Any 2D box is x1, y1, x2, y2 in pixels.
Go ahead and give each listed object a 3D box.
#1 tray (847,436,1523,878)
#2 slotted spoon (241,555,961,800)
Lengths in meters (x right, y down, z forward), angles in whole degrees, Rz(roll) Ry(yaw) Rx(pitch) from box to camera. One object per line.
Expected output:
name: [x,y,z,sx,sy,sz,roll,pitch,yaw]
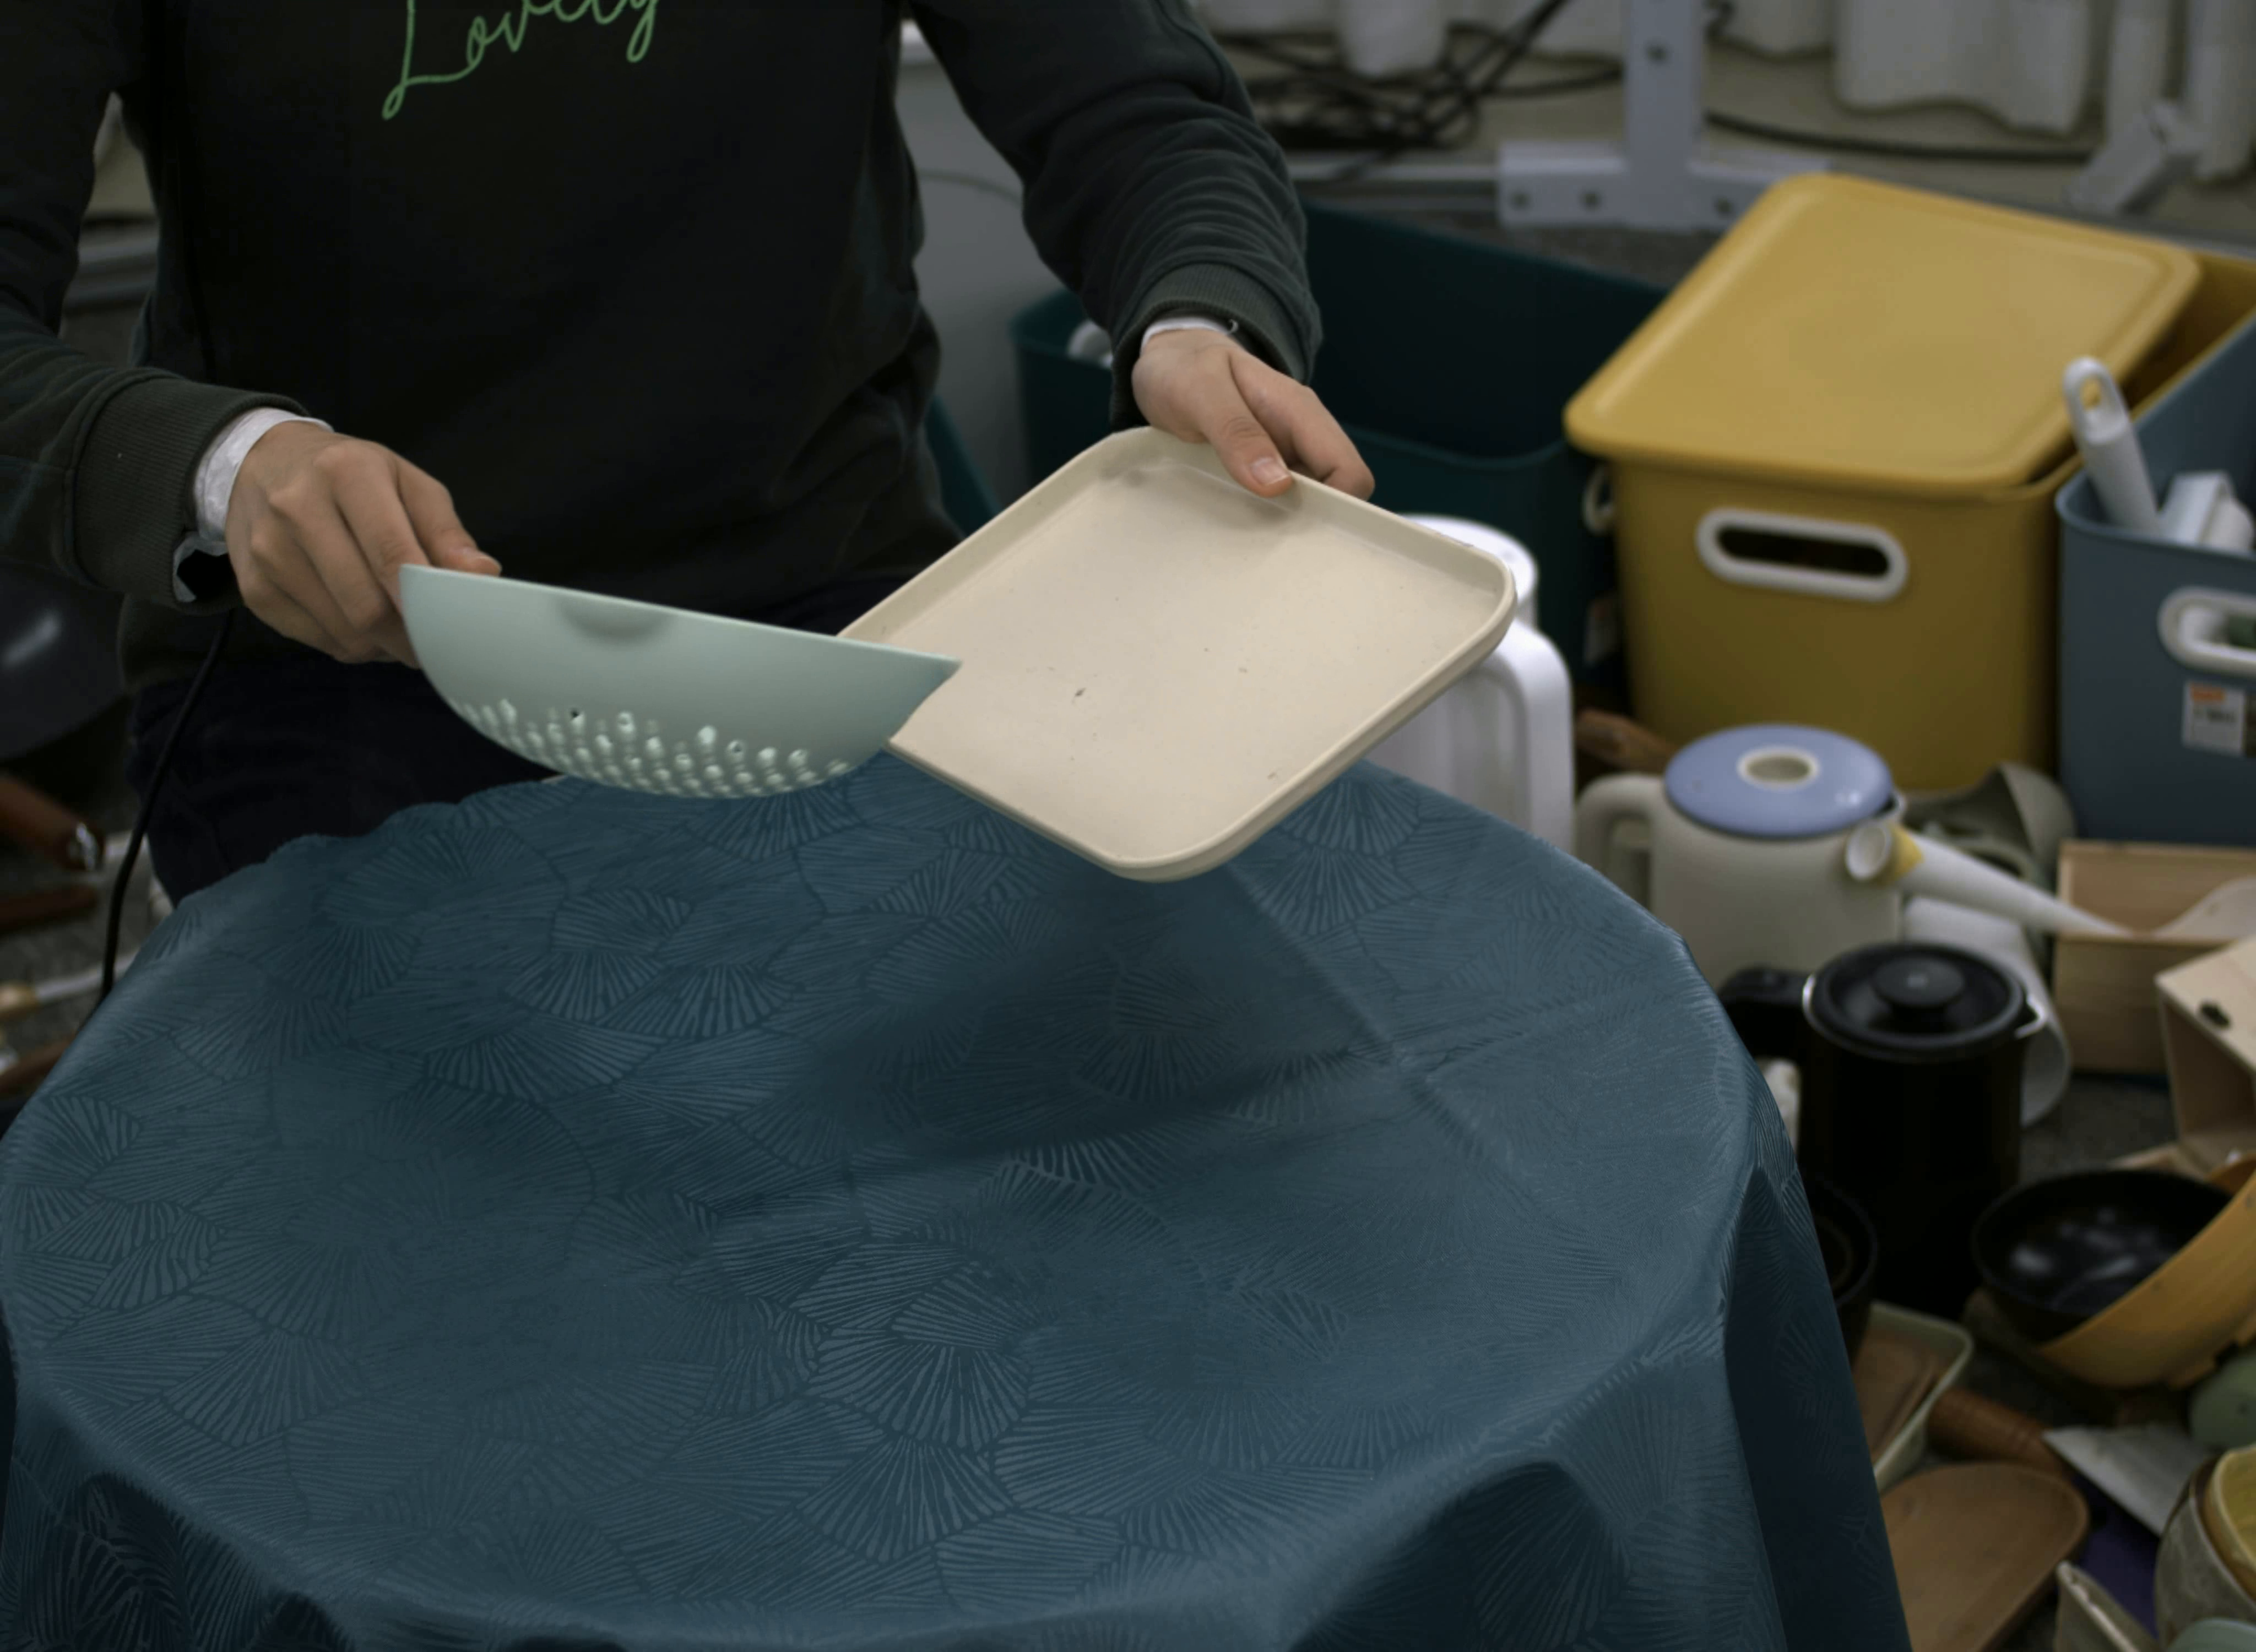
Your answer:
tray: [0.012,-0.058,1.872,0.173,0.017,0.239,-37,33,-20]
slotted spoon: [-0.200,-0.064,1.823,0.169,0.075,0.358,10,8,-36]
